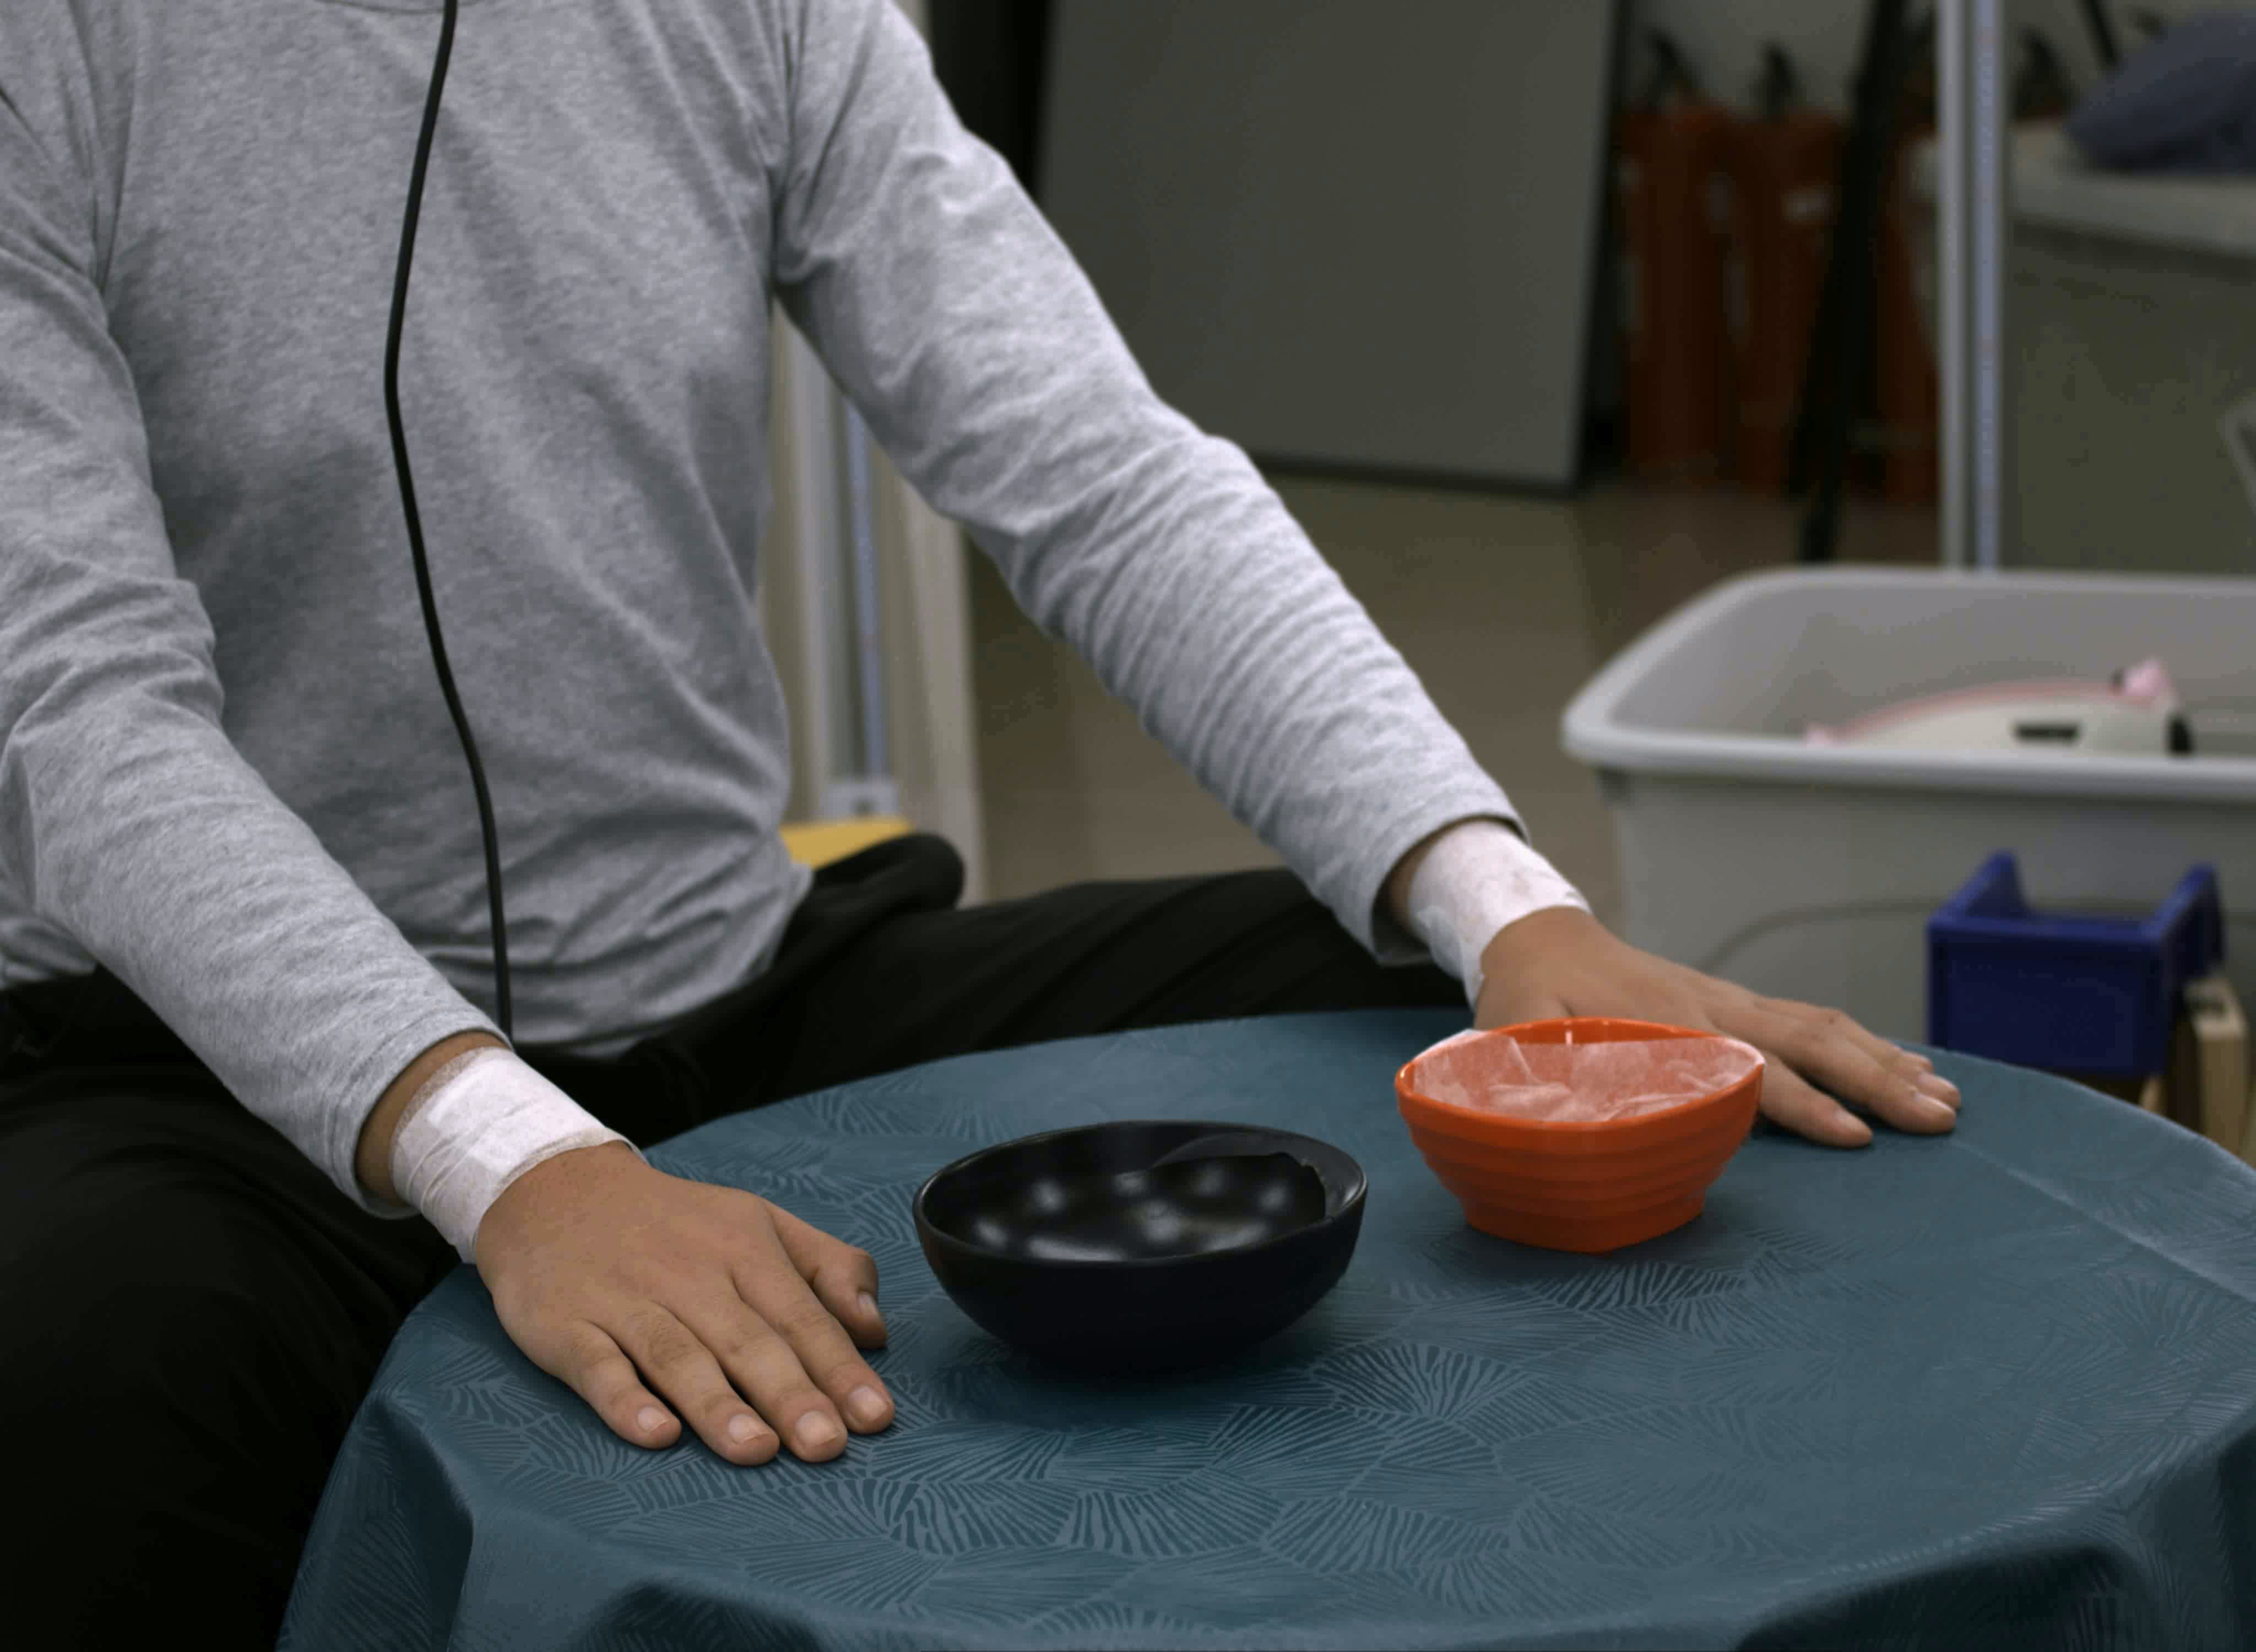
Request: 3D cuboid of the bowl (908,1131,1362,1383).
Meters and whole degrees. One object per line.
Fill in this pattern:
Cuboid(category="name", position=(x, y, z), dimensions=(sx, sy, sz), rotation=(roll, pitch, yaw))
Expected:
Cuboid(category="bowl", position=(0.004, 0.134, 1.625), dimensions=(0.138, 0.050, 0.140), rotation=(-5, 11, 0))

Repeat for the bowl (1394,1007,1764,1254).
Cuboid(category="bowl", position=(0.144, 0.099, 1.711), dimensions=(0.117, 0.052, 0.119), rotation=(-4, 15, 0))
